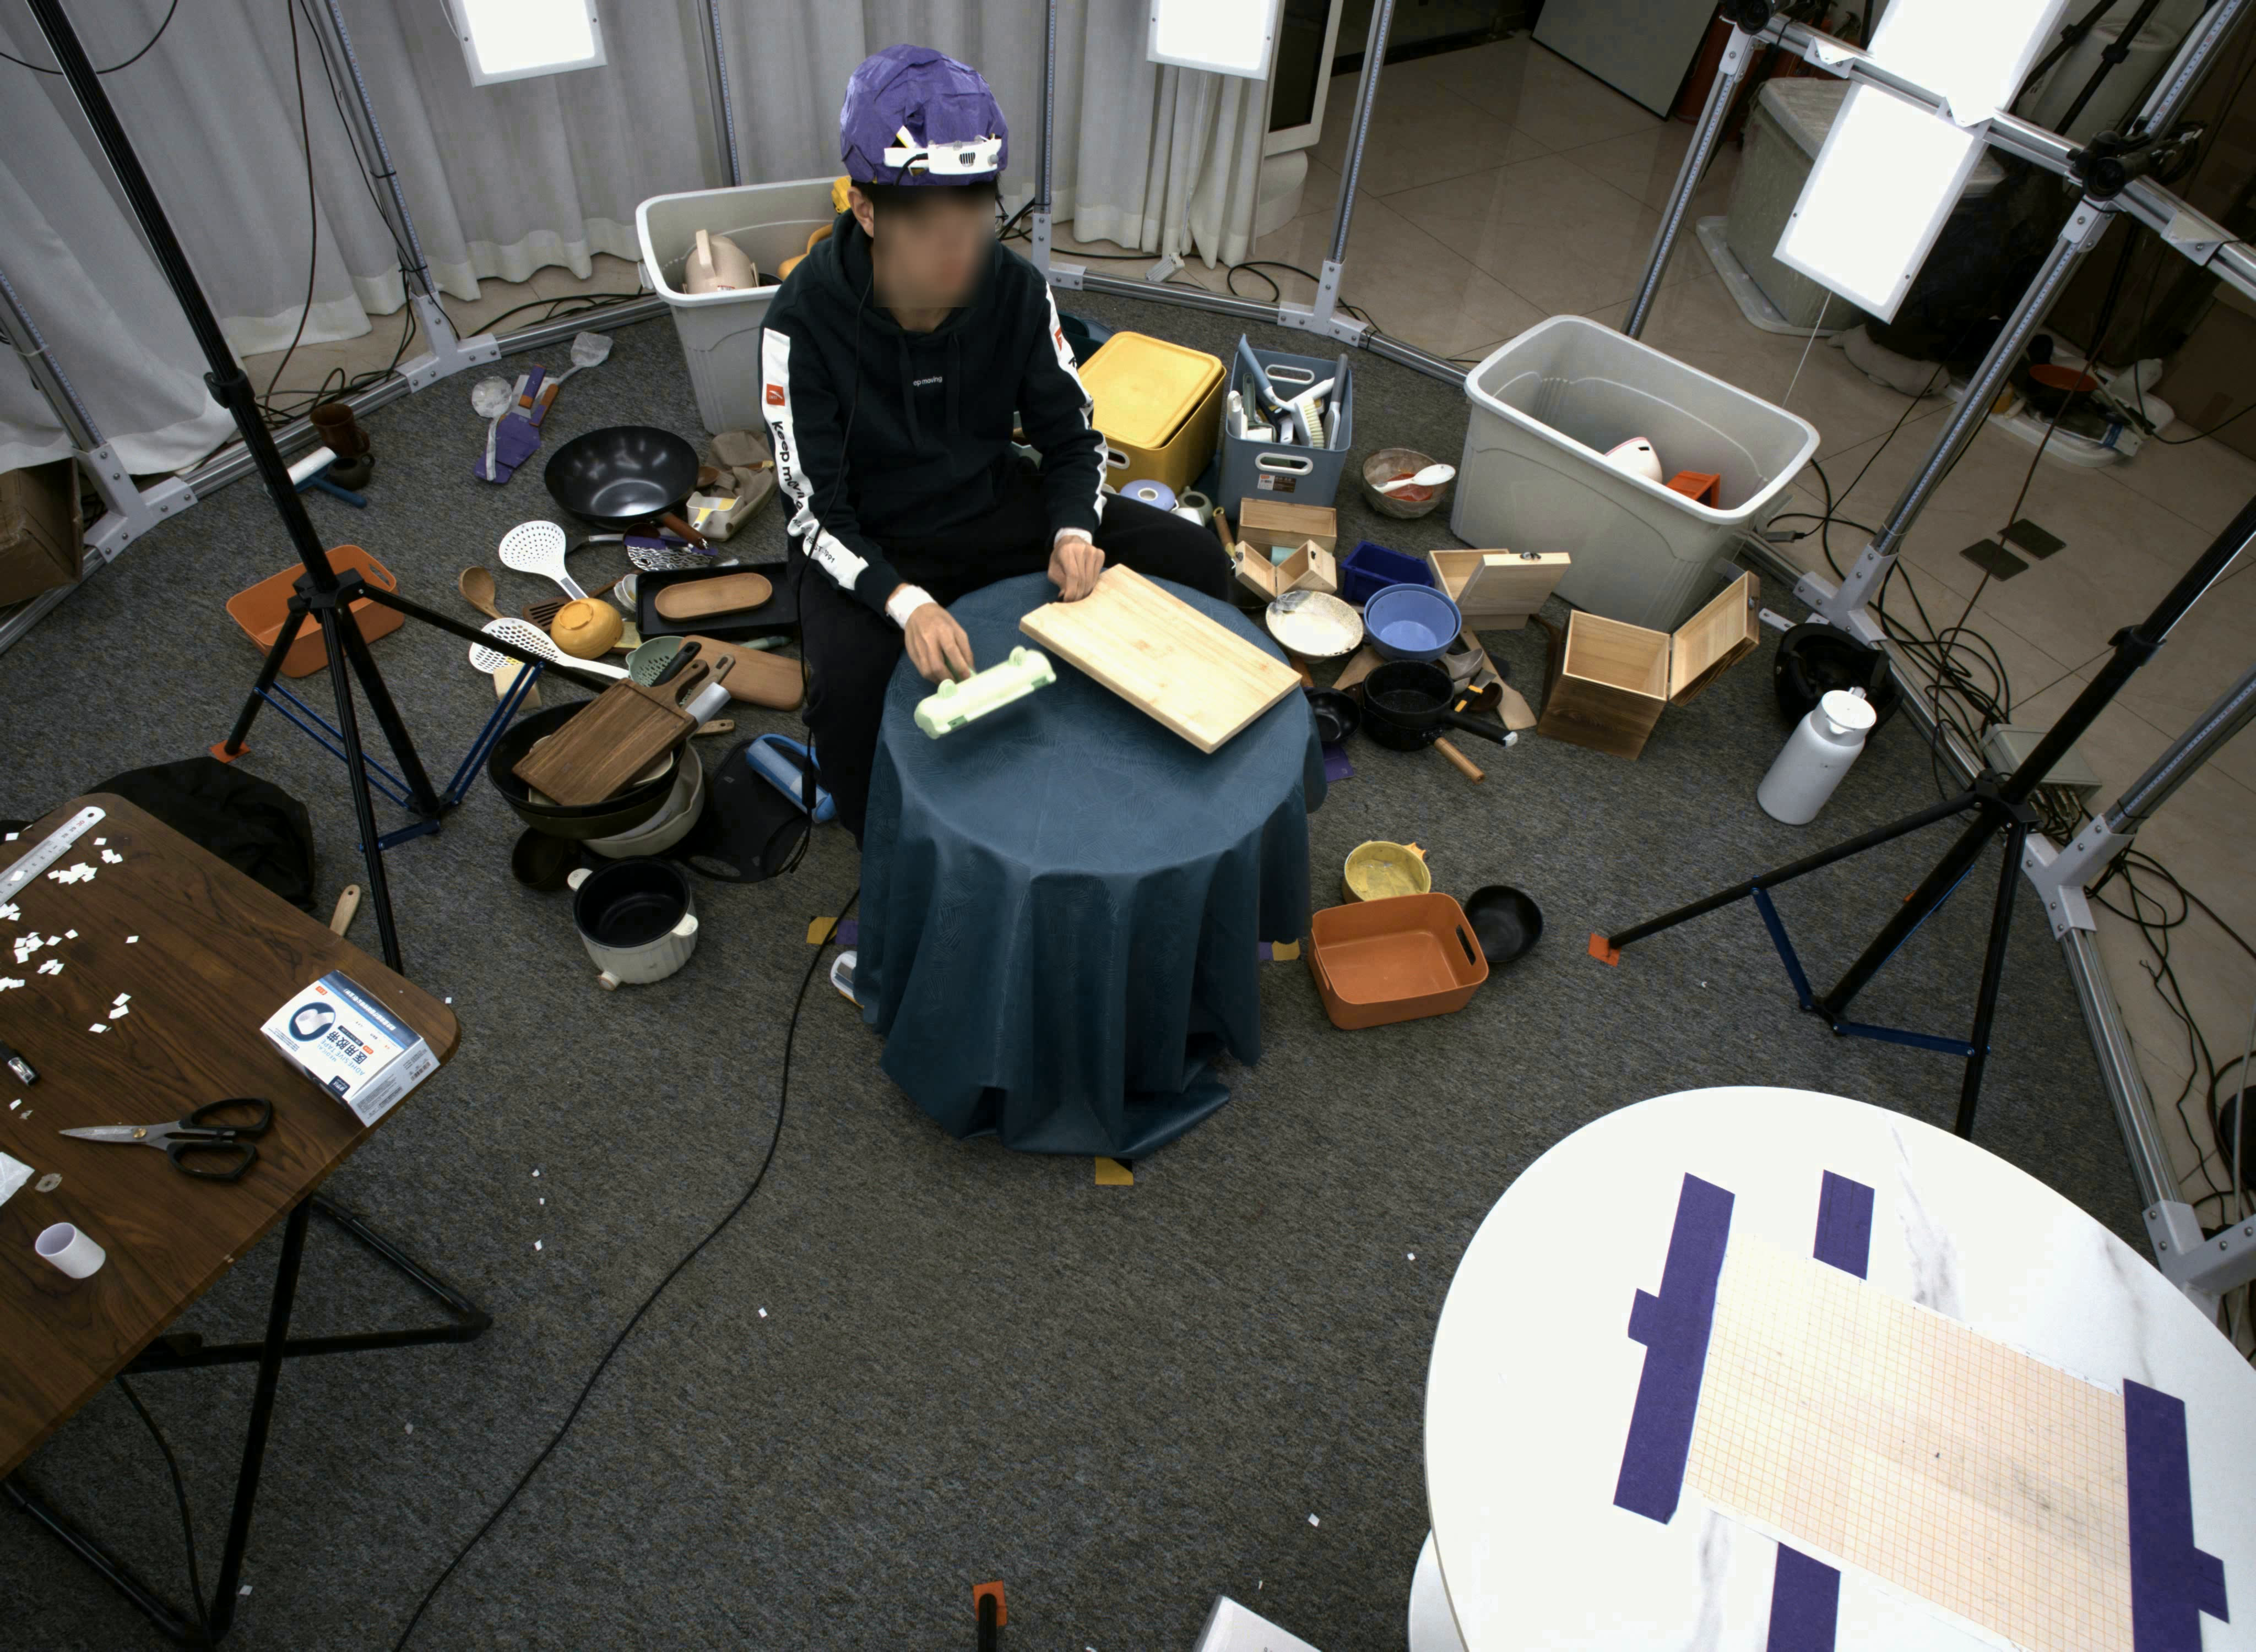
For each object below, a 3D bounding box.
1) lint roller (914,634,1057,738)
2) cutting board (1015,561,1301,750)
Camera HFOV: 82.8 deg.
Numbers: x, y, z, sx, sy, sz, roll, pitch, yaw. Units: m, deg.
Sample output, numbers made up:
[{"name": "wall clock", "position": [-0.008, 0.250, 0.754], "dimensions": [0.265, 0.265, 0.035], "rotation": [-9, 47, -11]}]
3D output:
[{"name": "lint roller", "position": [-0.224, -0.221, 1.736], "dimensions": [0.200, 0.080, 0.186], "rotation": [-30, 61, -27]}, {"name": "cutting board", "position": [0.045, -0.252, 1.839], "dimensions": [0.352, 0.023, 0.253], "rotation": [34, 44, 19]}]
